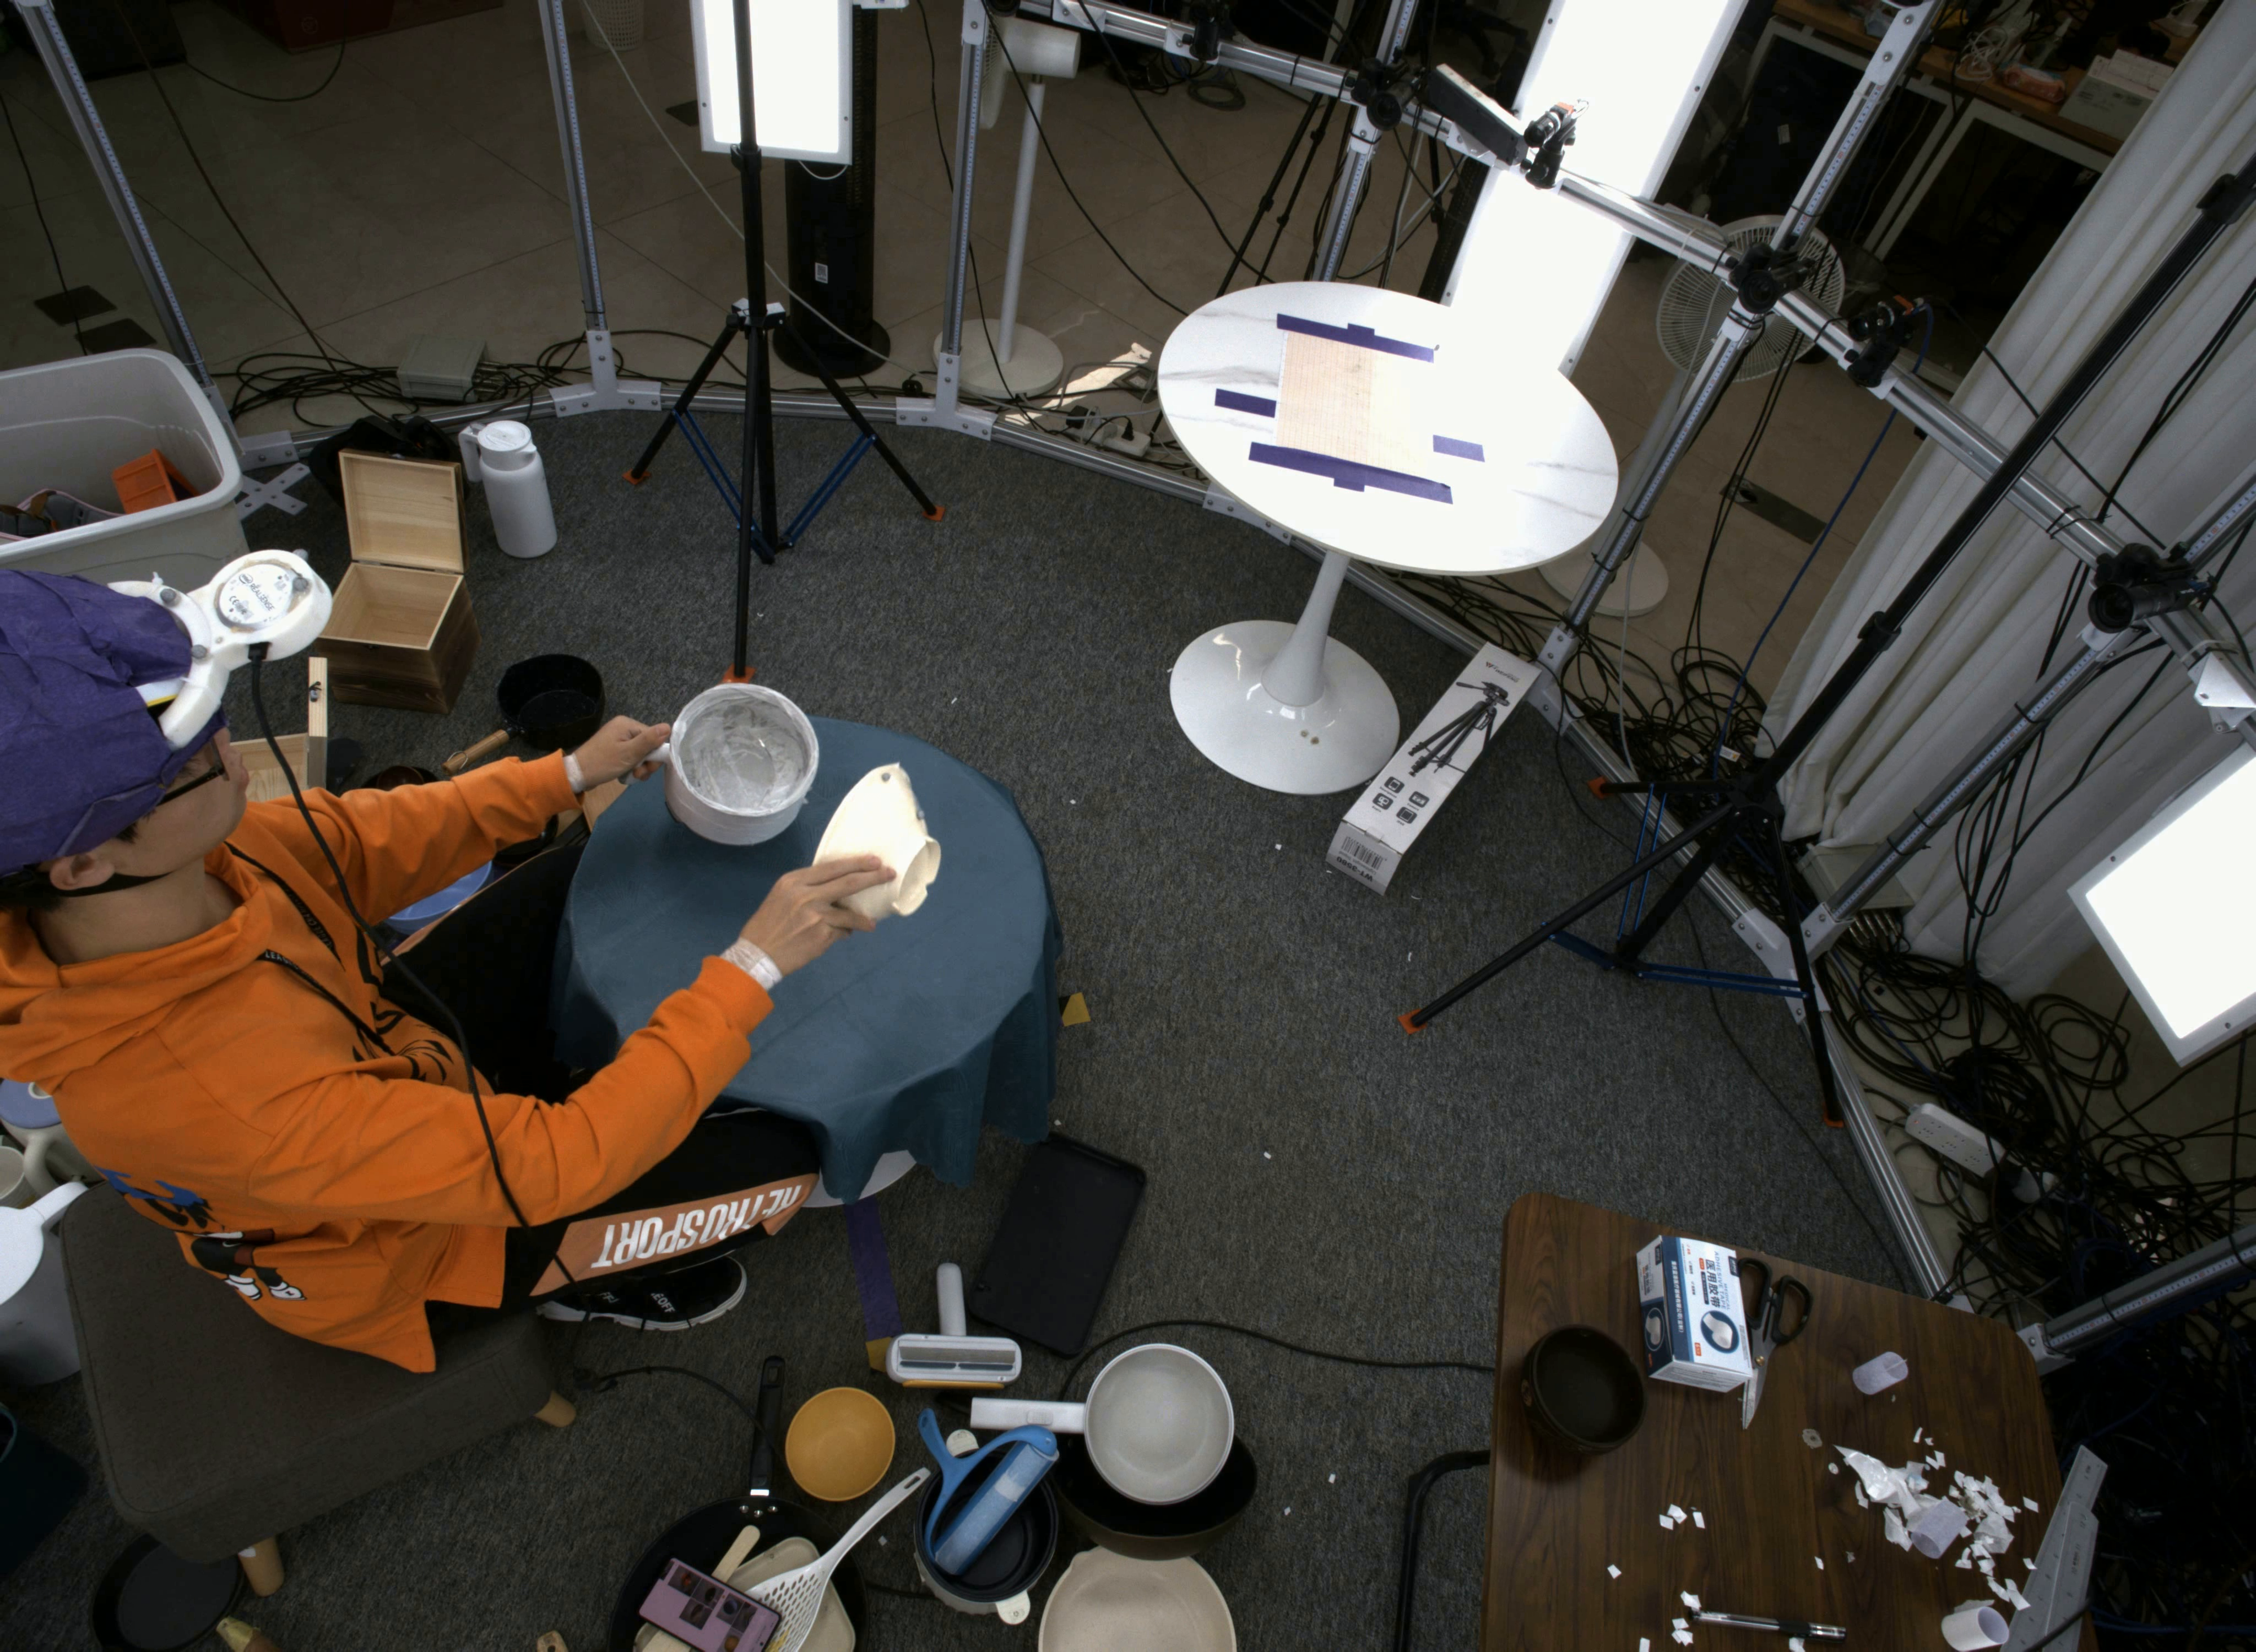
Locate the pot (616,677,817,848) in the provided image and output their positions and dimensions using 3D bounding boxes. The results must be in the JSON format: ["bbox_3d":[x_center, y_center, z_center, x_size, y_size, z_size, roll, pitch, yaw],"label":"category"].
[{"bbox_3d":[-0.510,-0.075,1.584,0.236,0.136,0.177,4,67,-25],"label":"pot"}]

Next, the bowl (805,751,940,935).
[{"bbox_3d":[-0.254,0.030,1.379,0.076,0.209,0.202,20,50,12],"label":"bowl"}]
